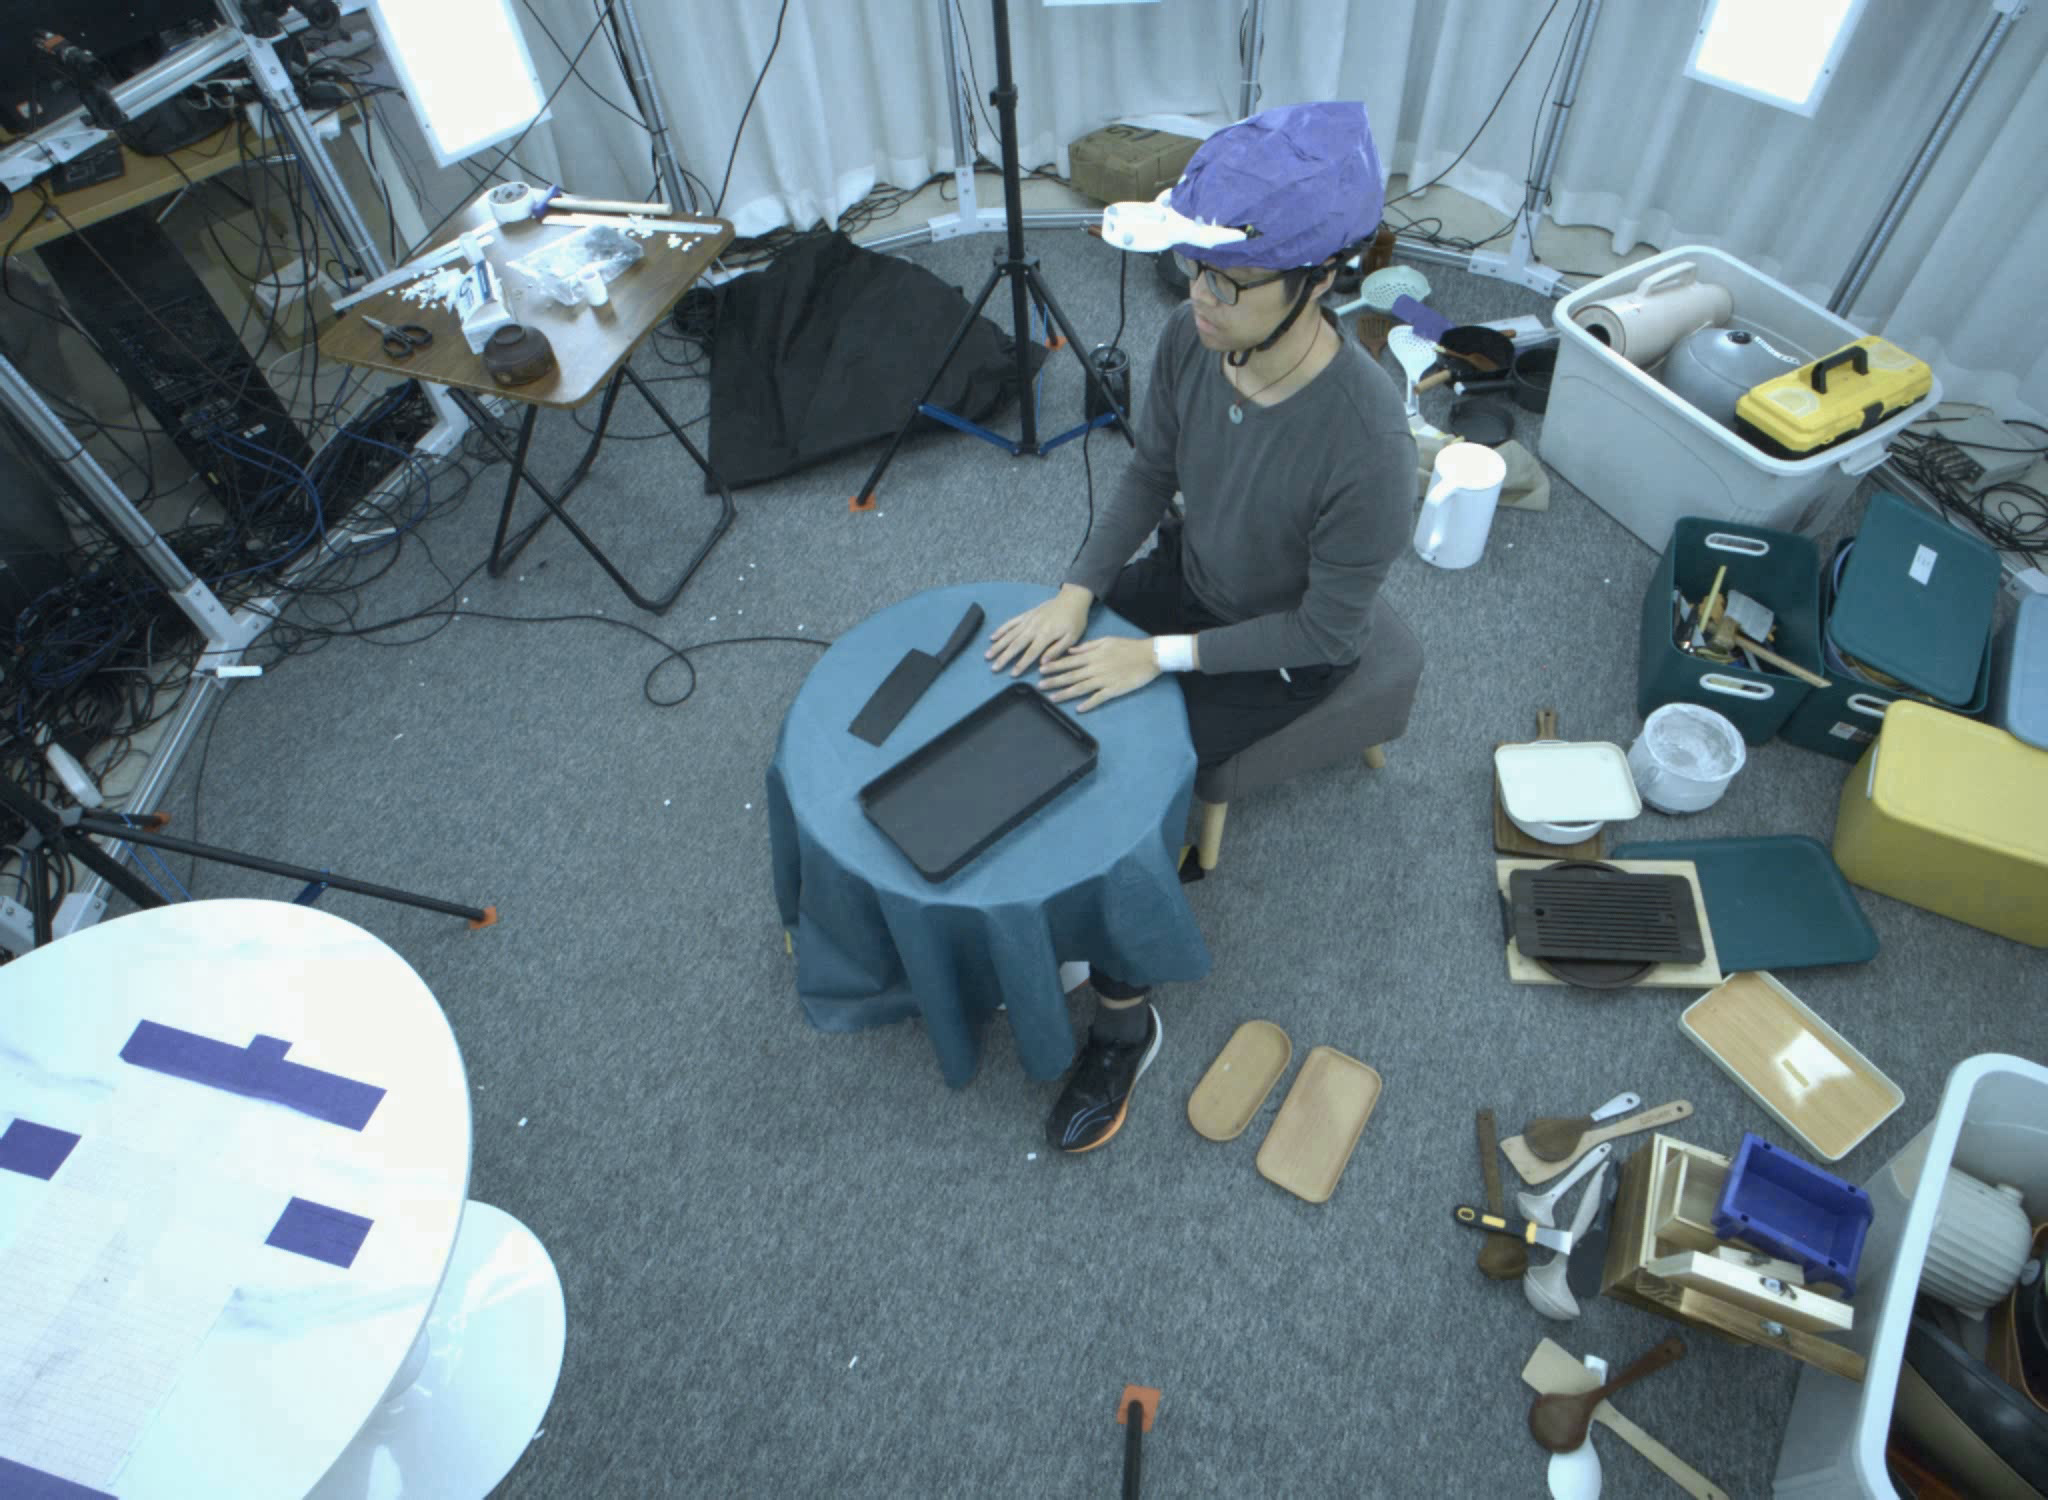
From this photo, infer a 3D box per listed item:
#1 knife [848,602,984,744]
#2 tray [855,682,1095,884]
[{"bbox_3d":[-0.159,-0.124,1.879,0.079,0.021,0.303,29,62,22],"label":"knife"},{"bbox_3d":[-0.066,0.041,1.745,0.320,0.037,0.181,-37,62,-23],"label":"tray"}]
